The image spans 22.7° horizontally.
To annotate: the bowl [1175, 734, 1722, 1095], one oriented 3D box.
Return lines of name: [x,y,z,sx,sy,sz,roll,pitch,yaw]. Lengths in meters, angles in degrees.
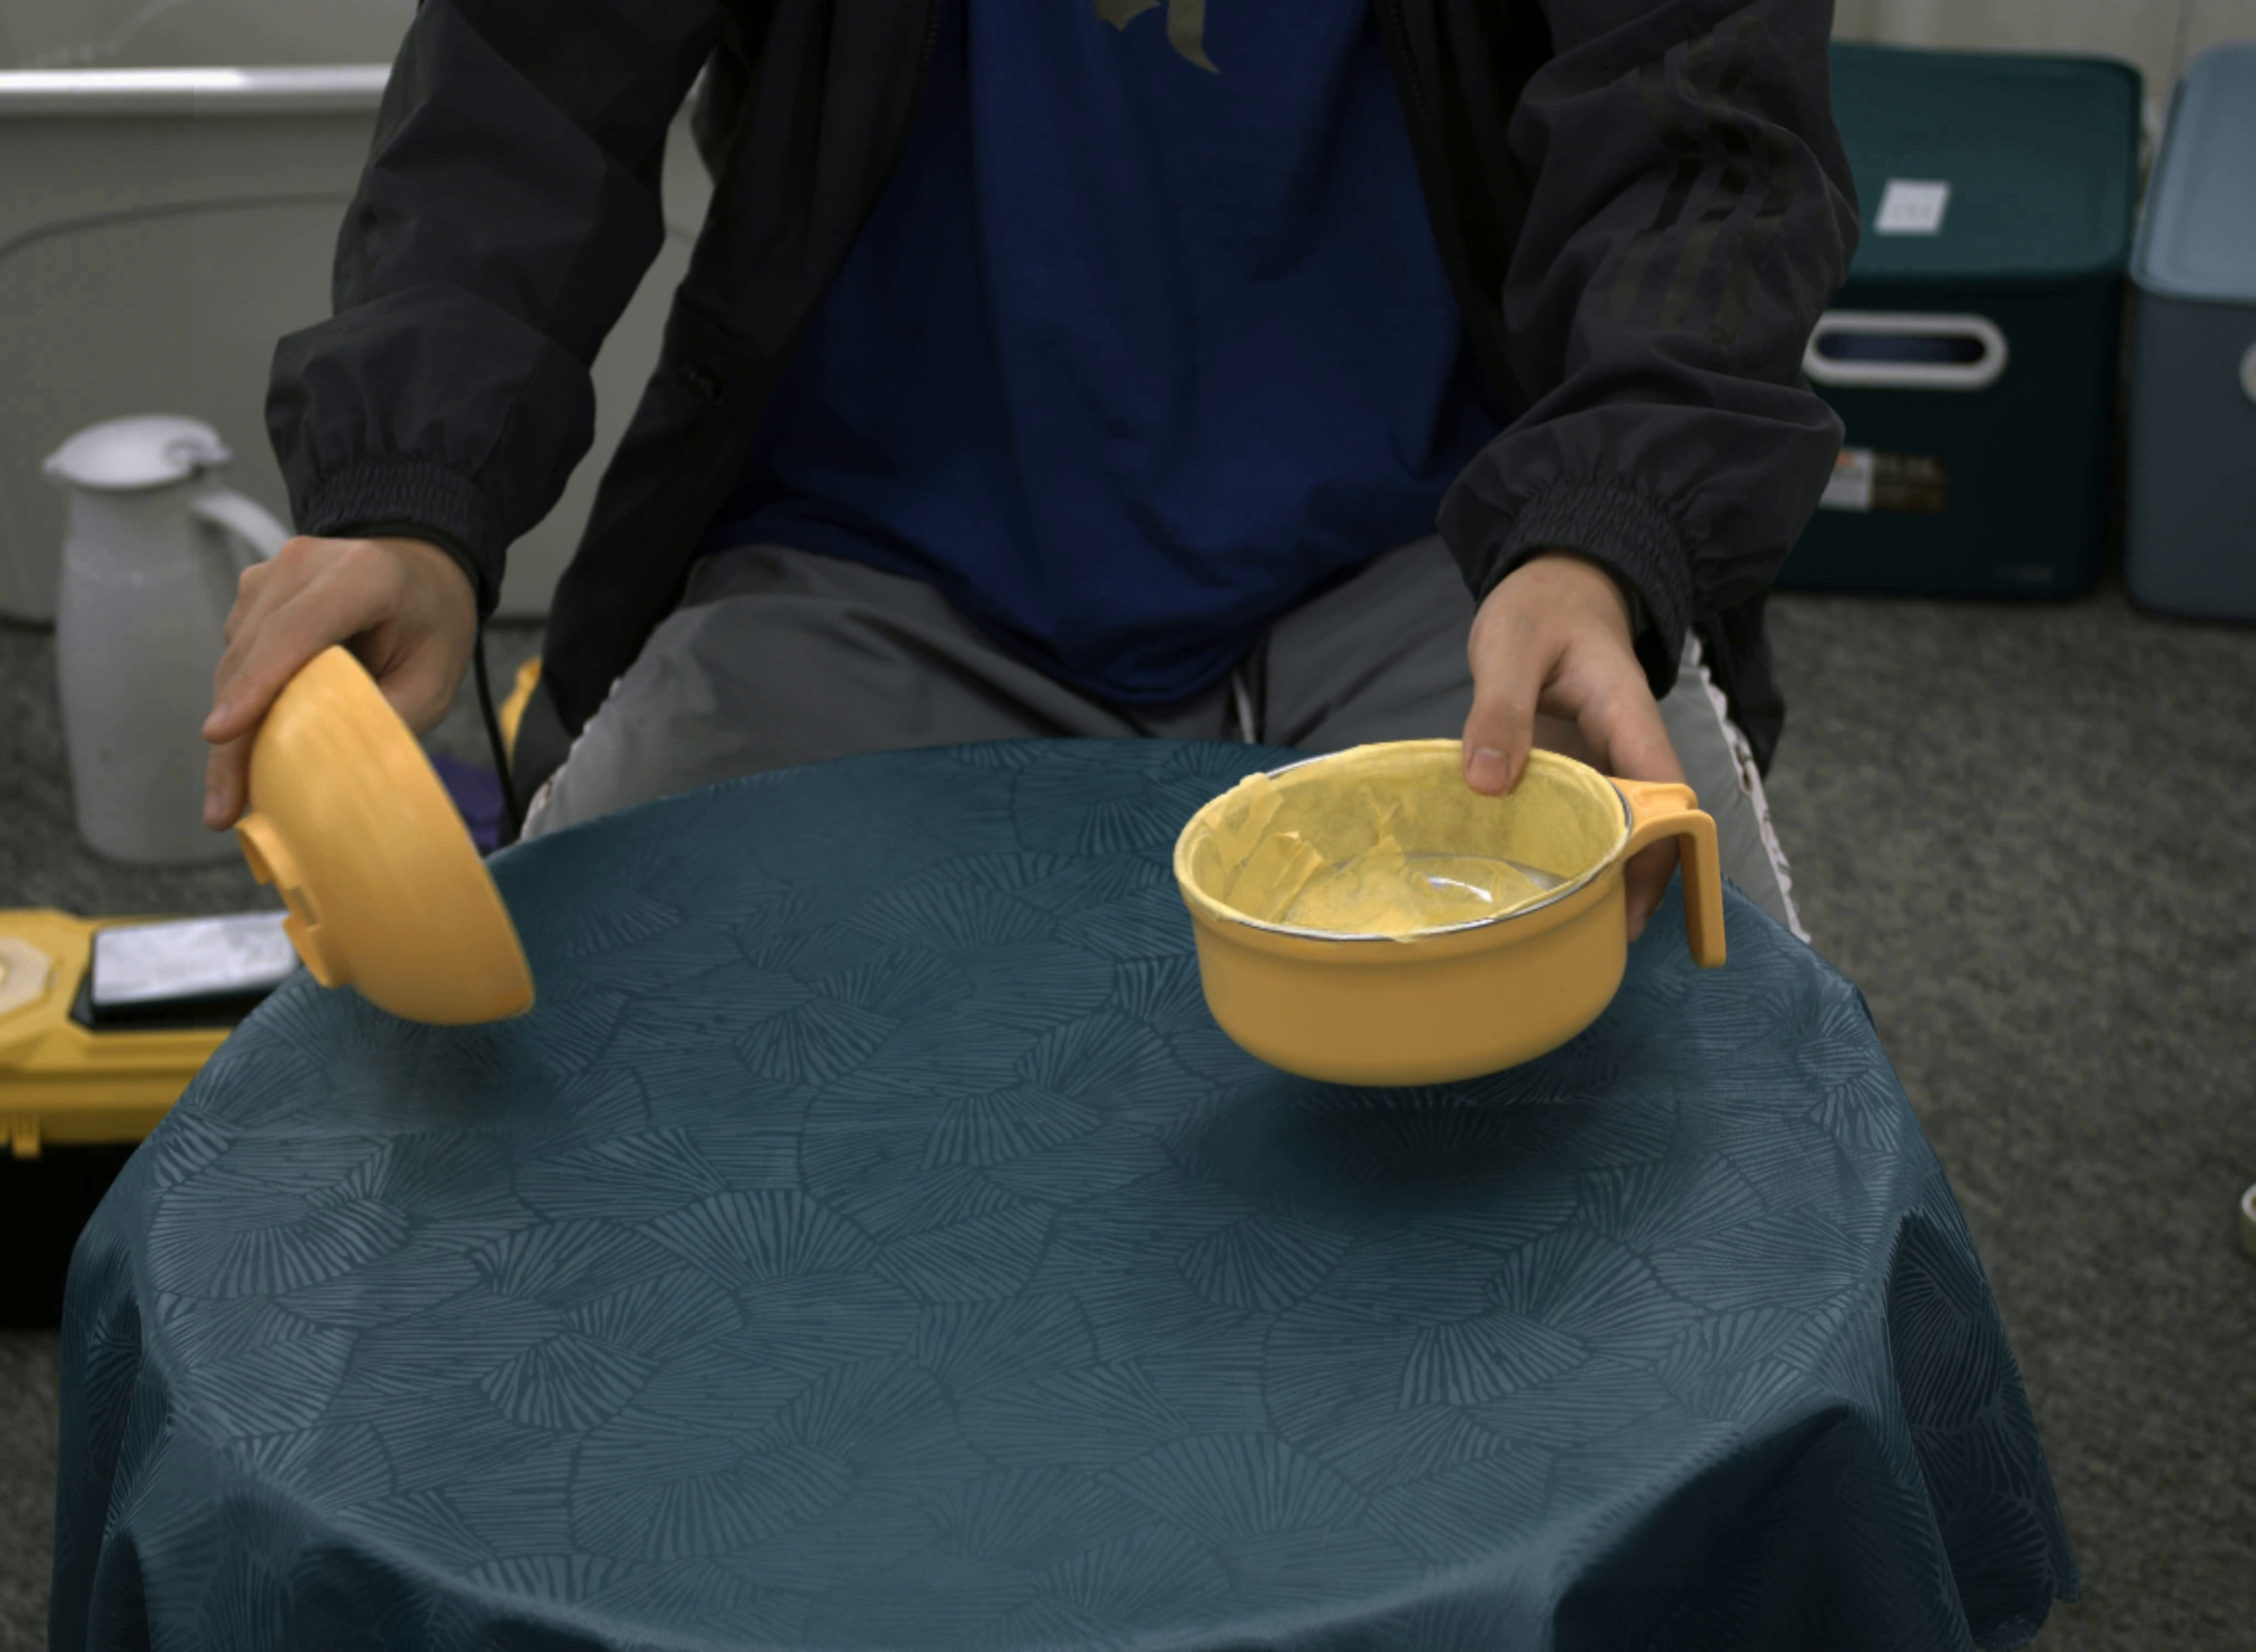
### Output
bowl: [0.107,0.030,1.864,0.179,0.073,0.154,-12,23,-11]

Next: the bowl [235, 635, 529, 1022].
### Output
bowl: [-0.264,0.013,1.921,0.060,0.144,0.146,-29,33,-11]
